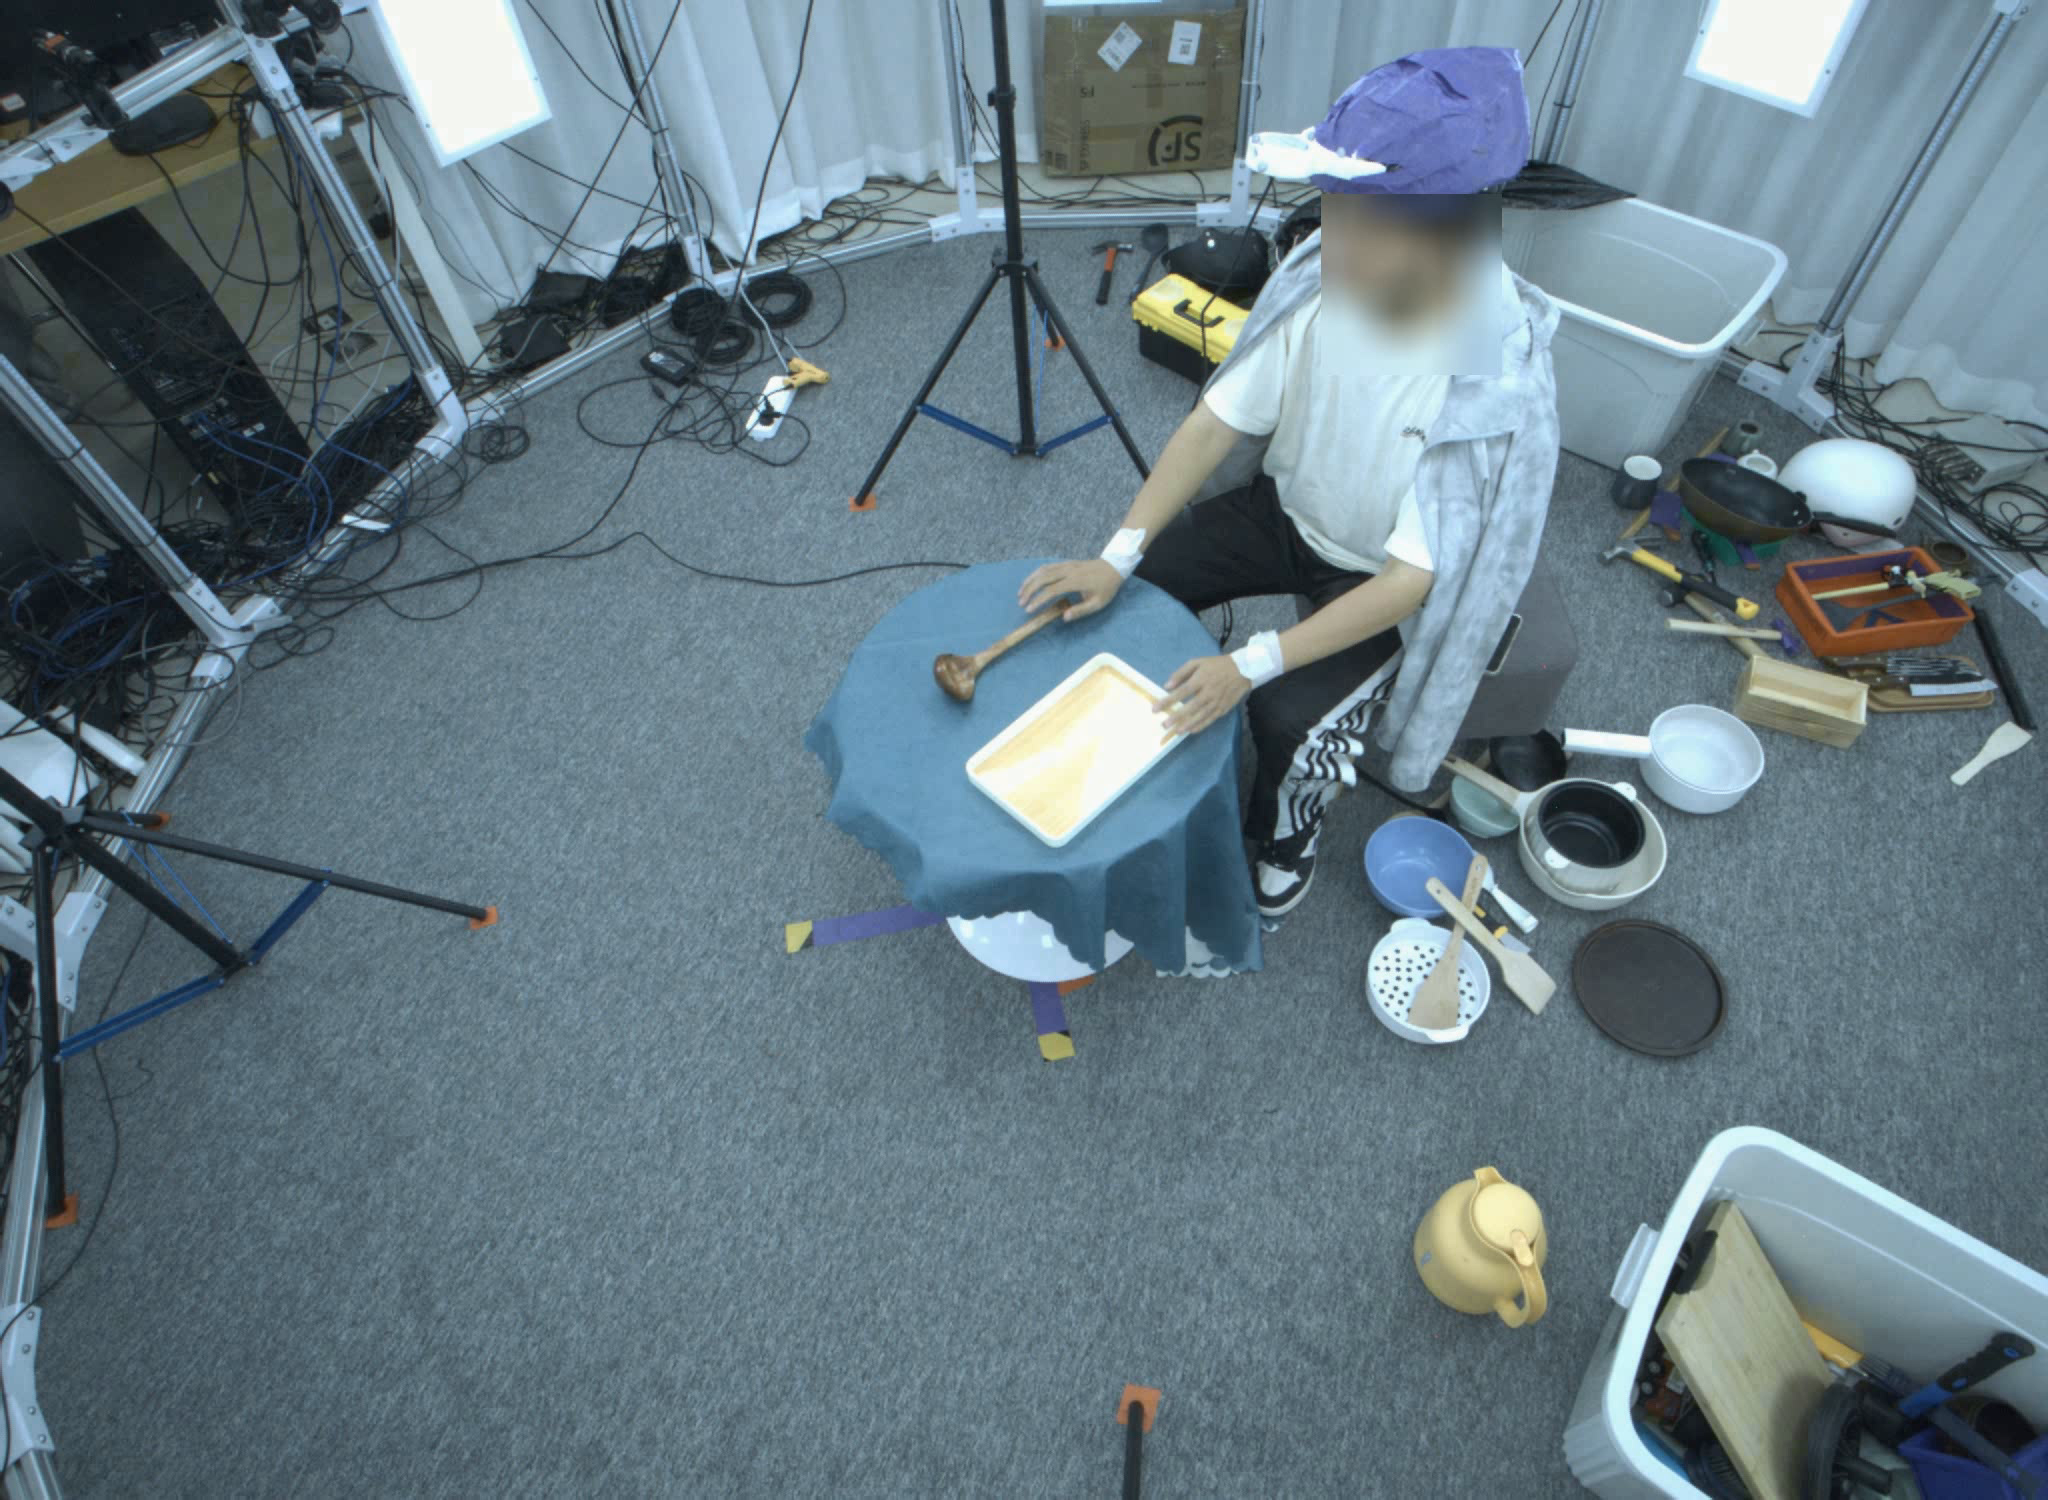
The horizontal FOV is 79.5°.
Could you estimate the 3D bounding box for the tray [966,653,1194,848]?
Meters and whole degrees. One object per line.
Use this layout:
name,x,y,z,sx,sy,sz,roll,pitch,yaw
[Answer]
tray,0.083,-0.006,1.774,0.188,0.028,0.302,39,64,25

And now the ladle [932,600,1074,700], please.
ladle,-0.024,-0.165,1.865,0.276,0.075,0.082,-33,99,-21
